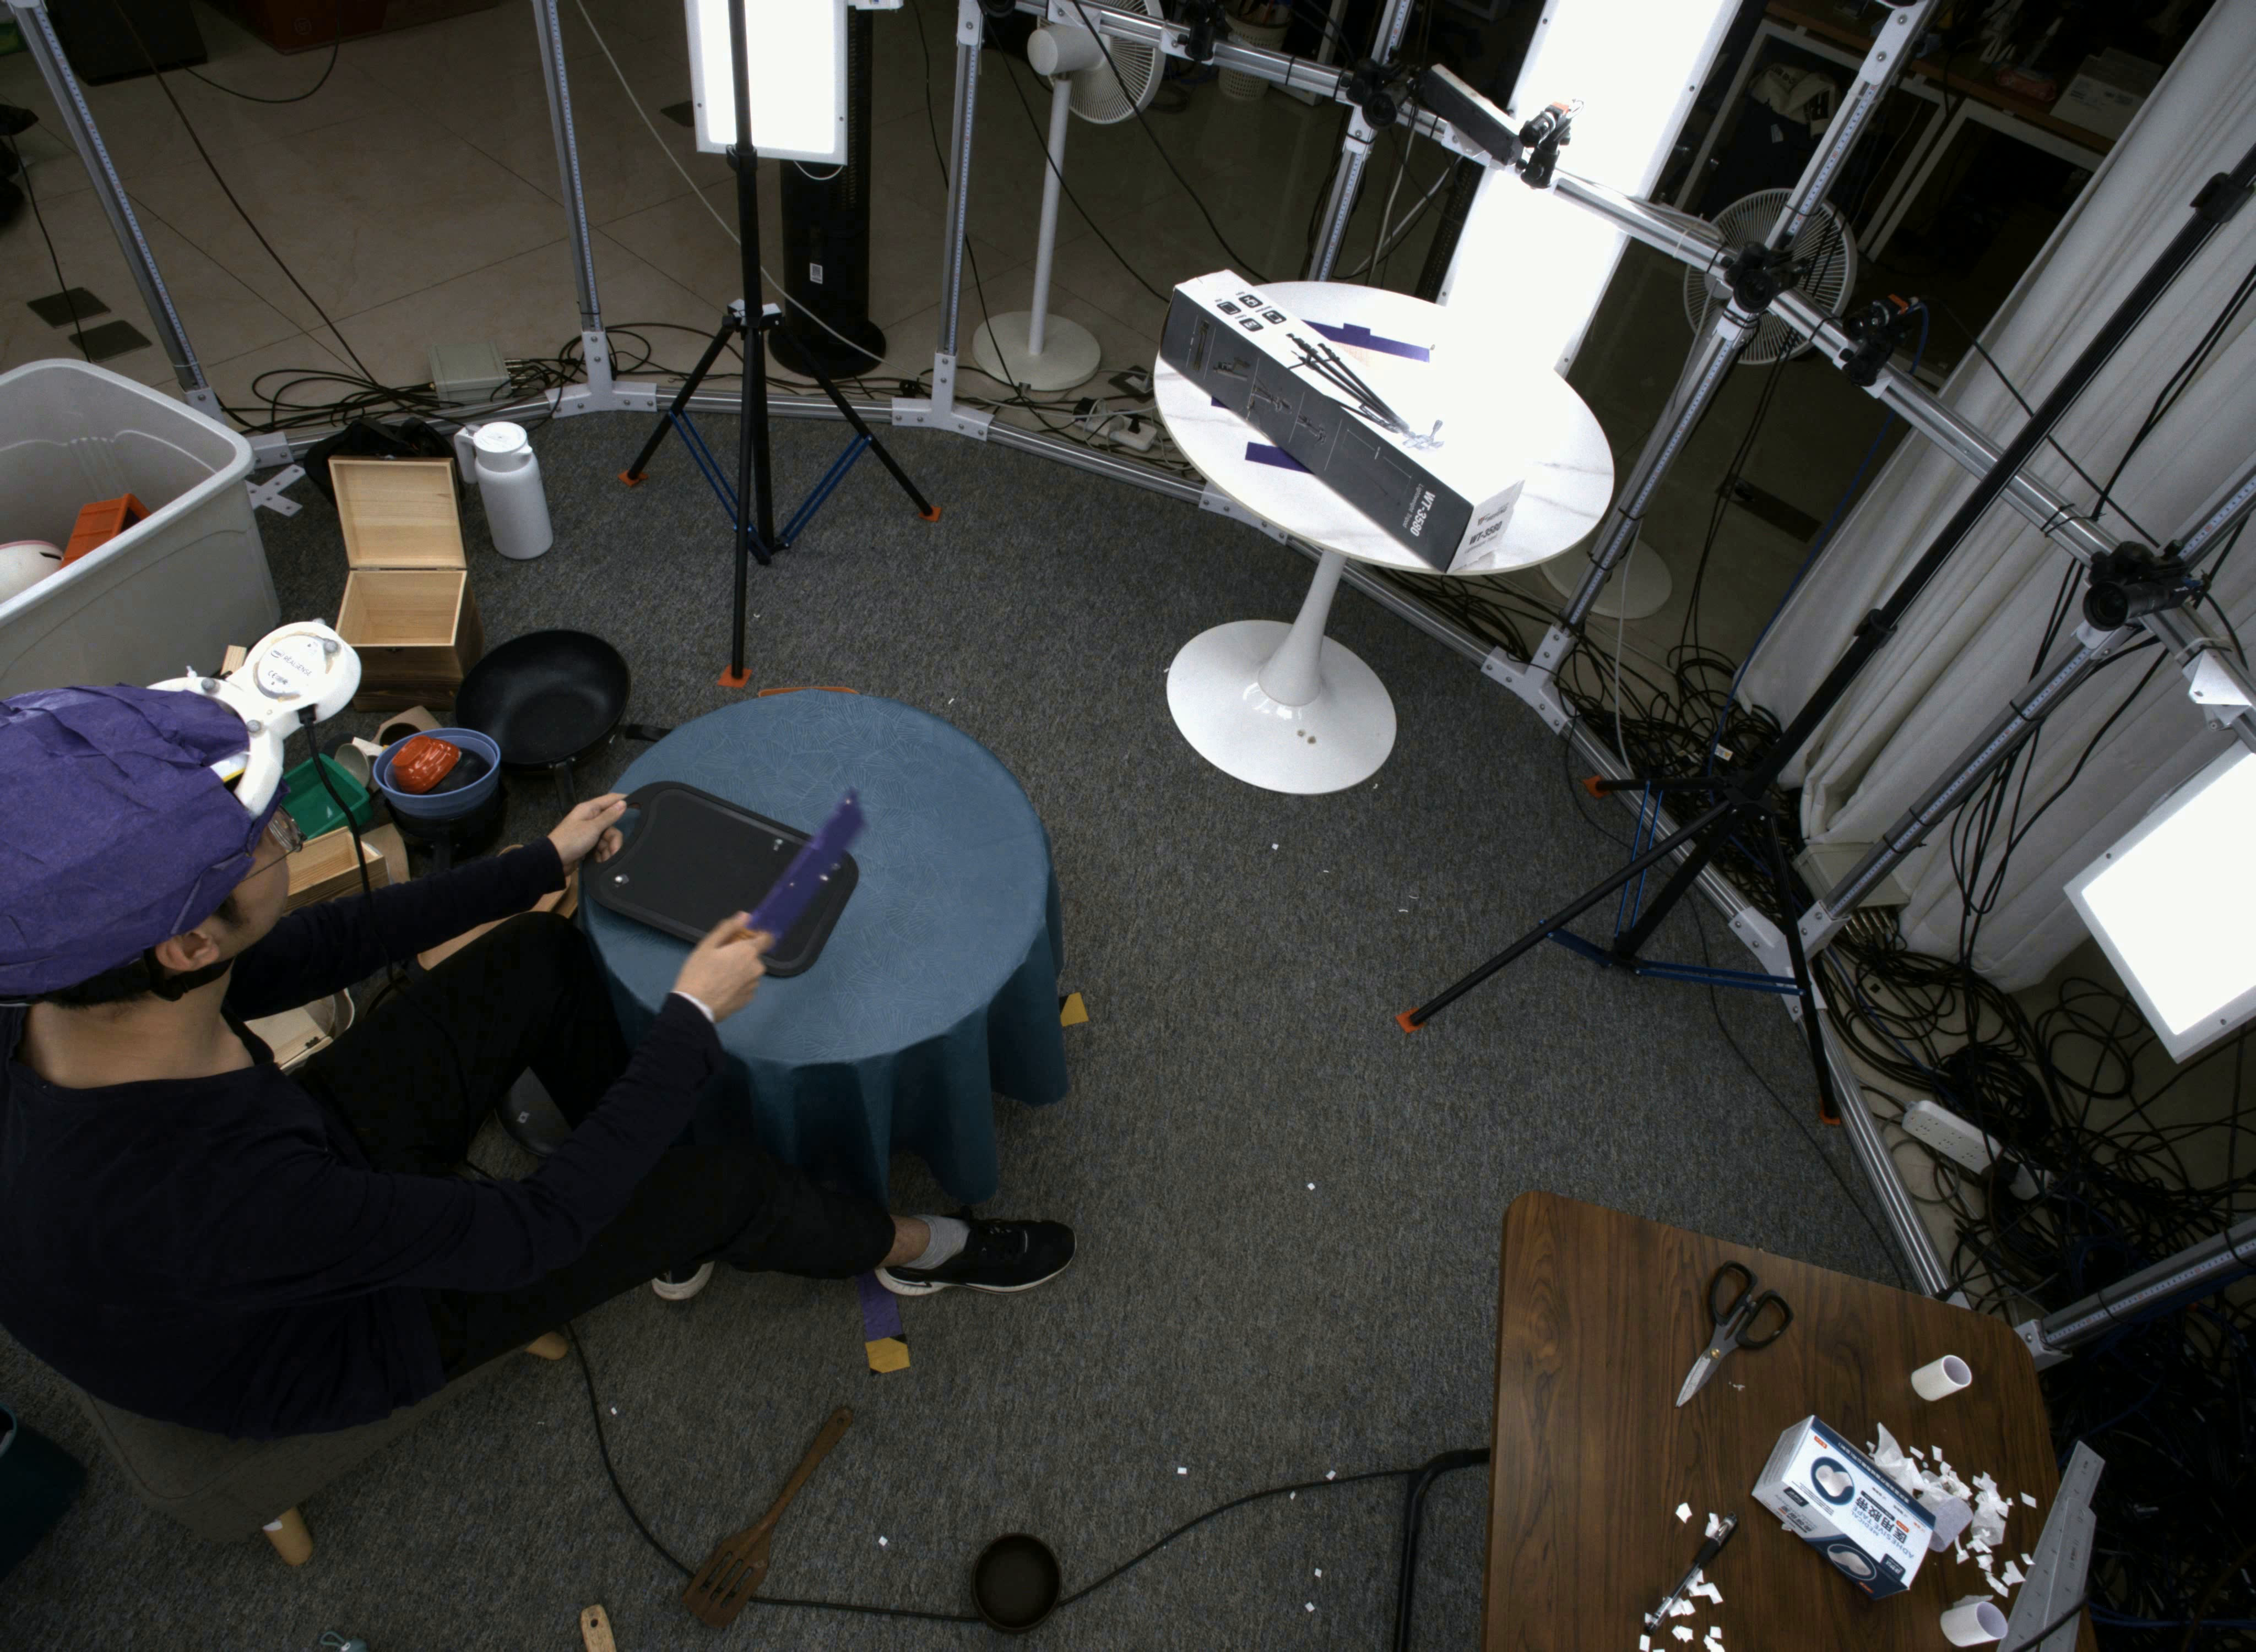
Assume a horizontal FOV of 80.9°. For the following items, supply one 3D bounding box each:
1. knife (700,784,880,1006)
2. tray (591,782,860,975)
[{"bbox_3d":[-0.384,0.092,1.522,0.031,0.107,0.314,24,60,19],"label":"knife"},{"bbox_3d":[-0.519,0.058,1.643,0.324,0.010,0.209,23,52,-5],"label":"tray"}]
